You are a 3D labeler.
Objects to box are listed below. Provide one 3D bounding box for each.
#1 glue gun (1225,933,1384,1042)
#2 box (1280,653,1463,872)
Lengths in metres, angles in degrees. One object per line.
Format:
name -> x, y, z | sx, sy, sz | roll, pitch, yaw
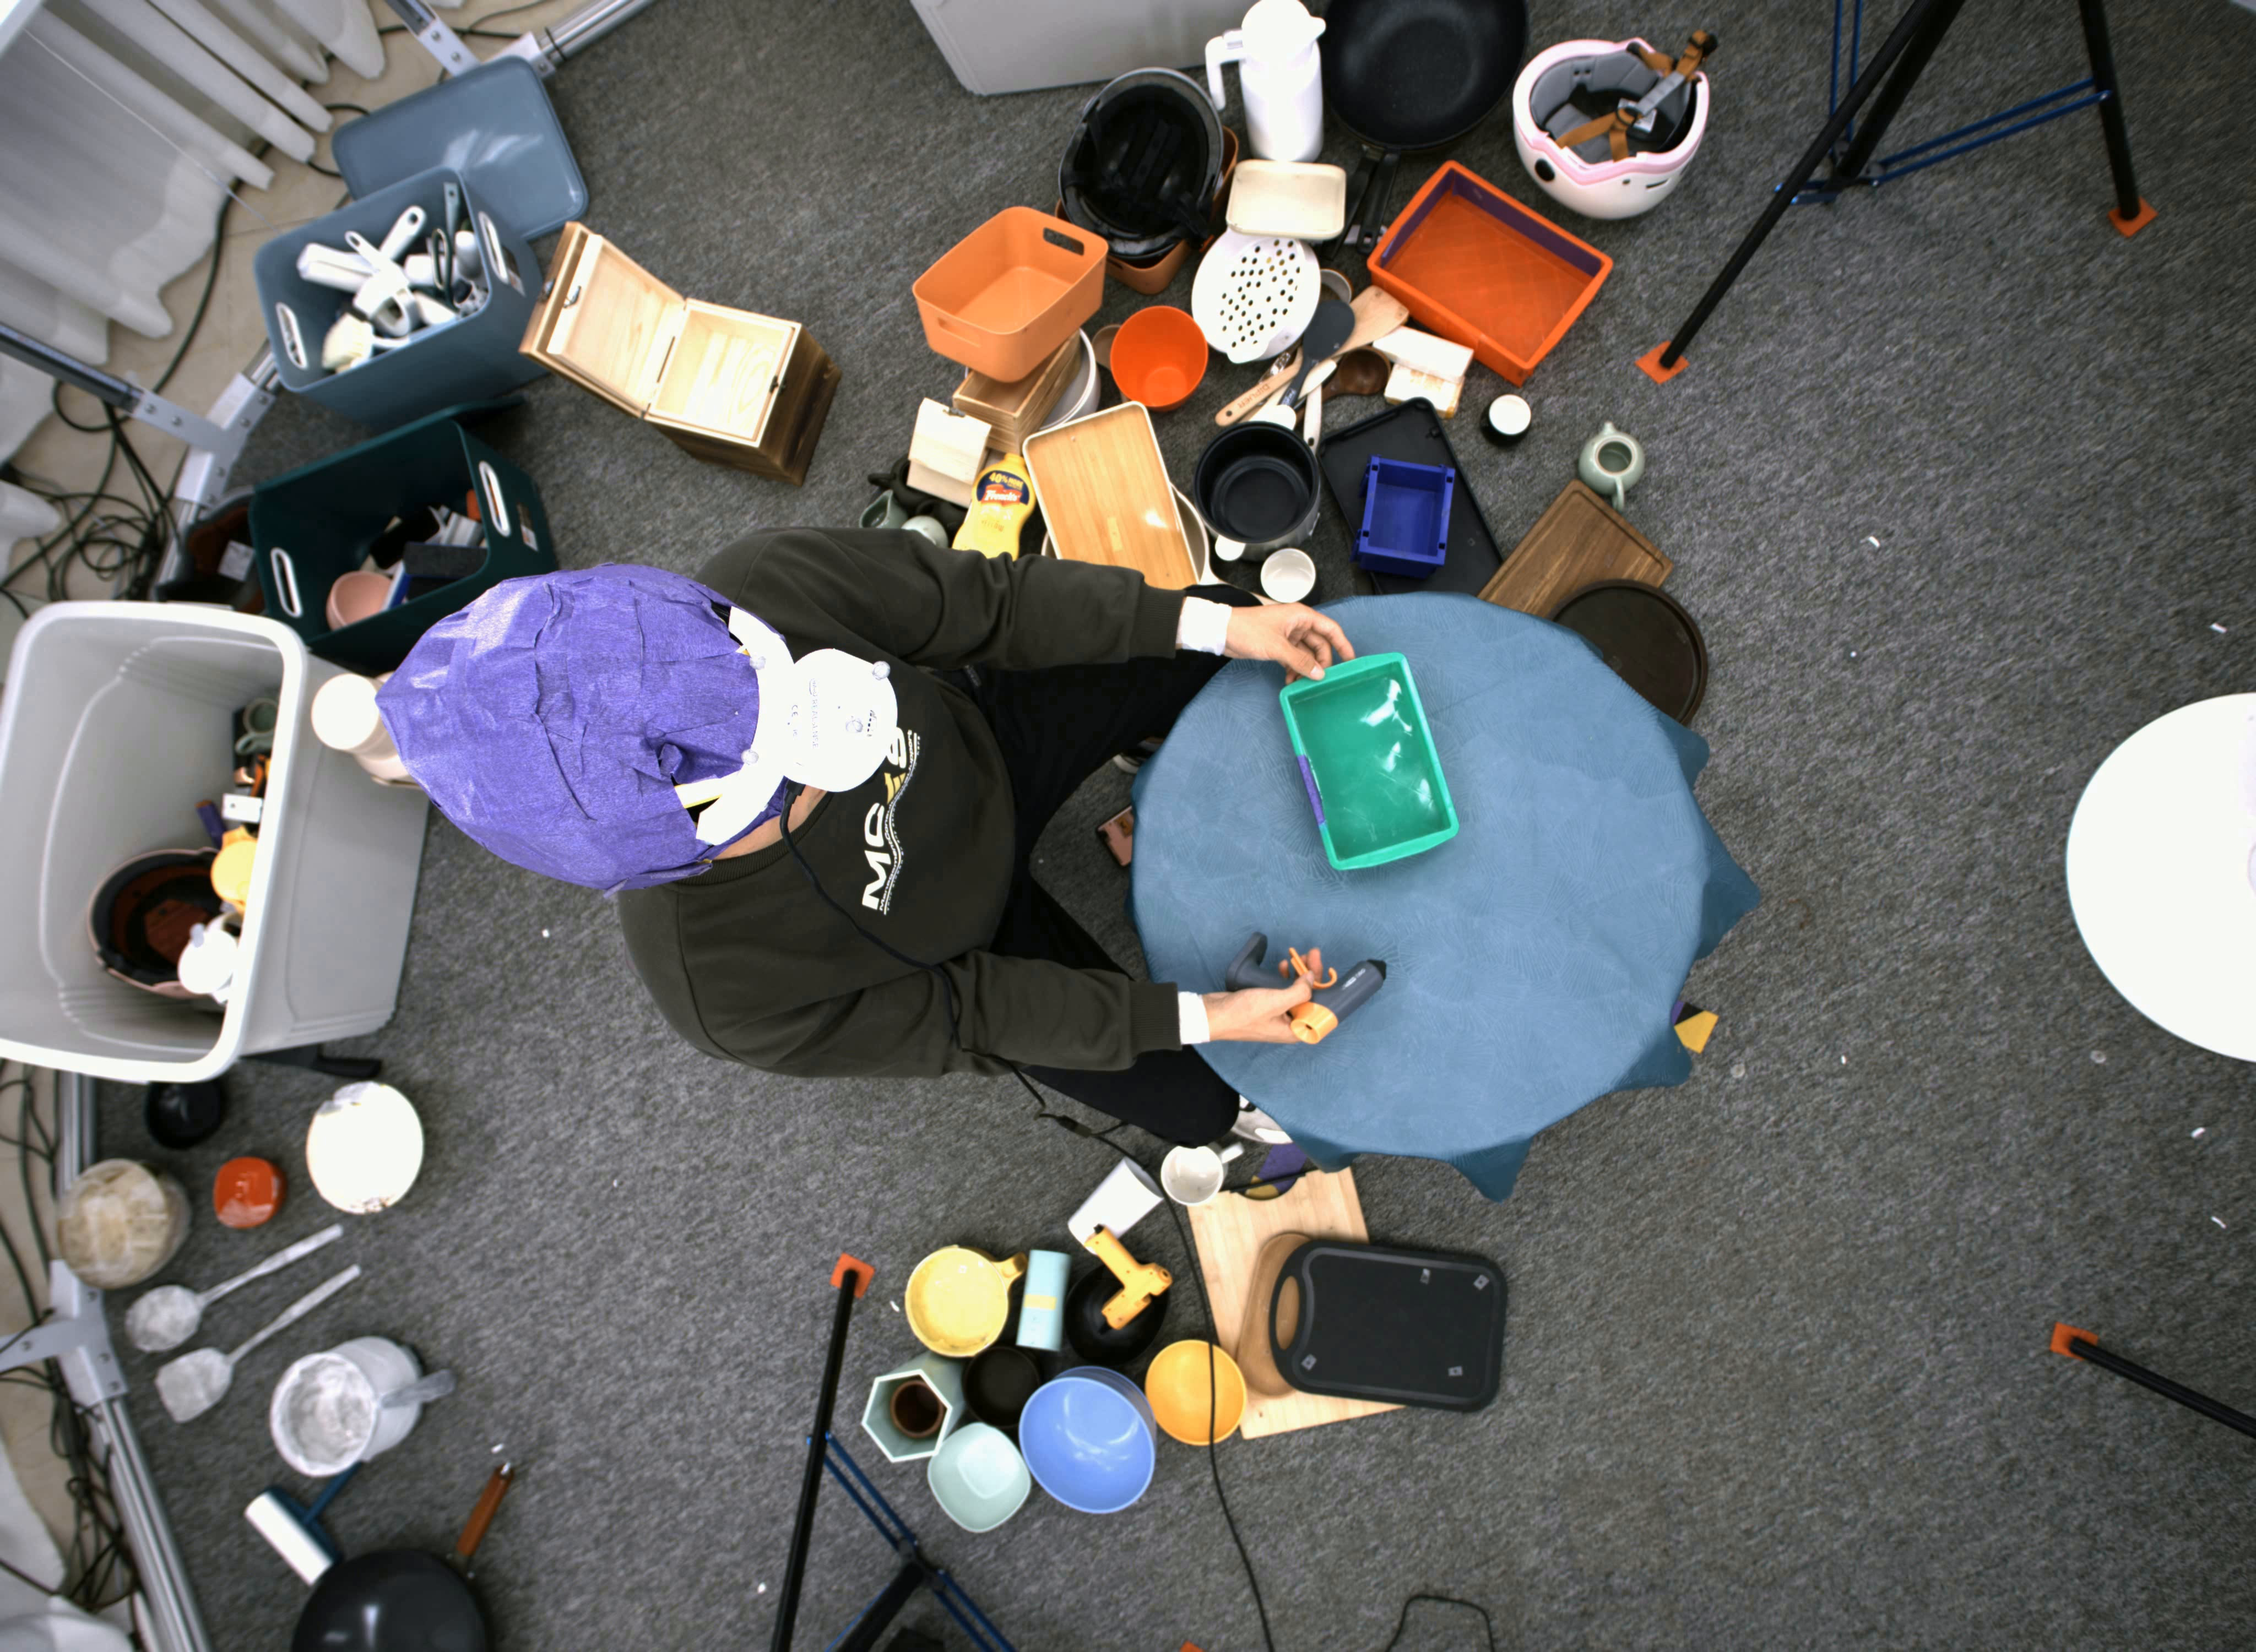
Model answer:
glue gun -> 0.179, 0.158, 1.408 | 0.139, 0.042, 0.115 | 20, 46, 25
box -> 0.252, -0.065, 1.436 | 0.139, 0.065, 0.210 | -18, 87, 9
